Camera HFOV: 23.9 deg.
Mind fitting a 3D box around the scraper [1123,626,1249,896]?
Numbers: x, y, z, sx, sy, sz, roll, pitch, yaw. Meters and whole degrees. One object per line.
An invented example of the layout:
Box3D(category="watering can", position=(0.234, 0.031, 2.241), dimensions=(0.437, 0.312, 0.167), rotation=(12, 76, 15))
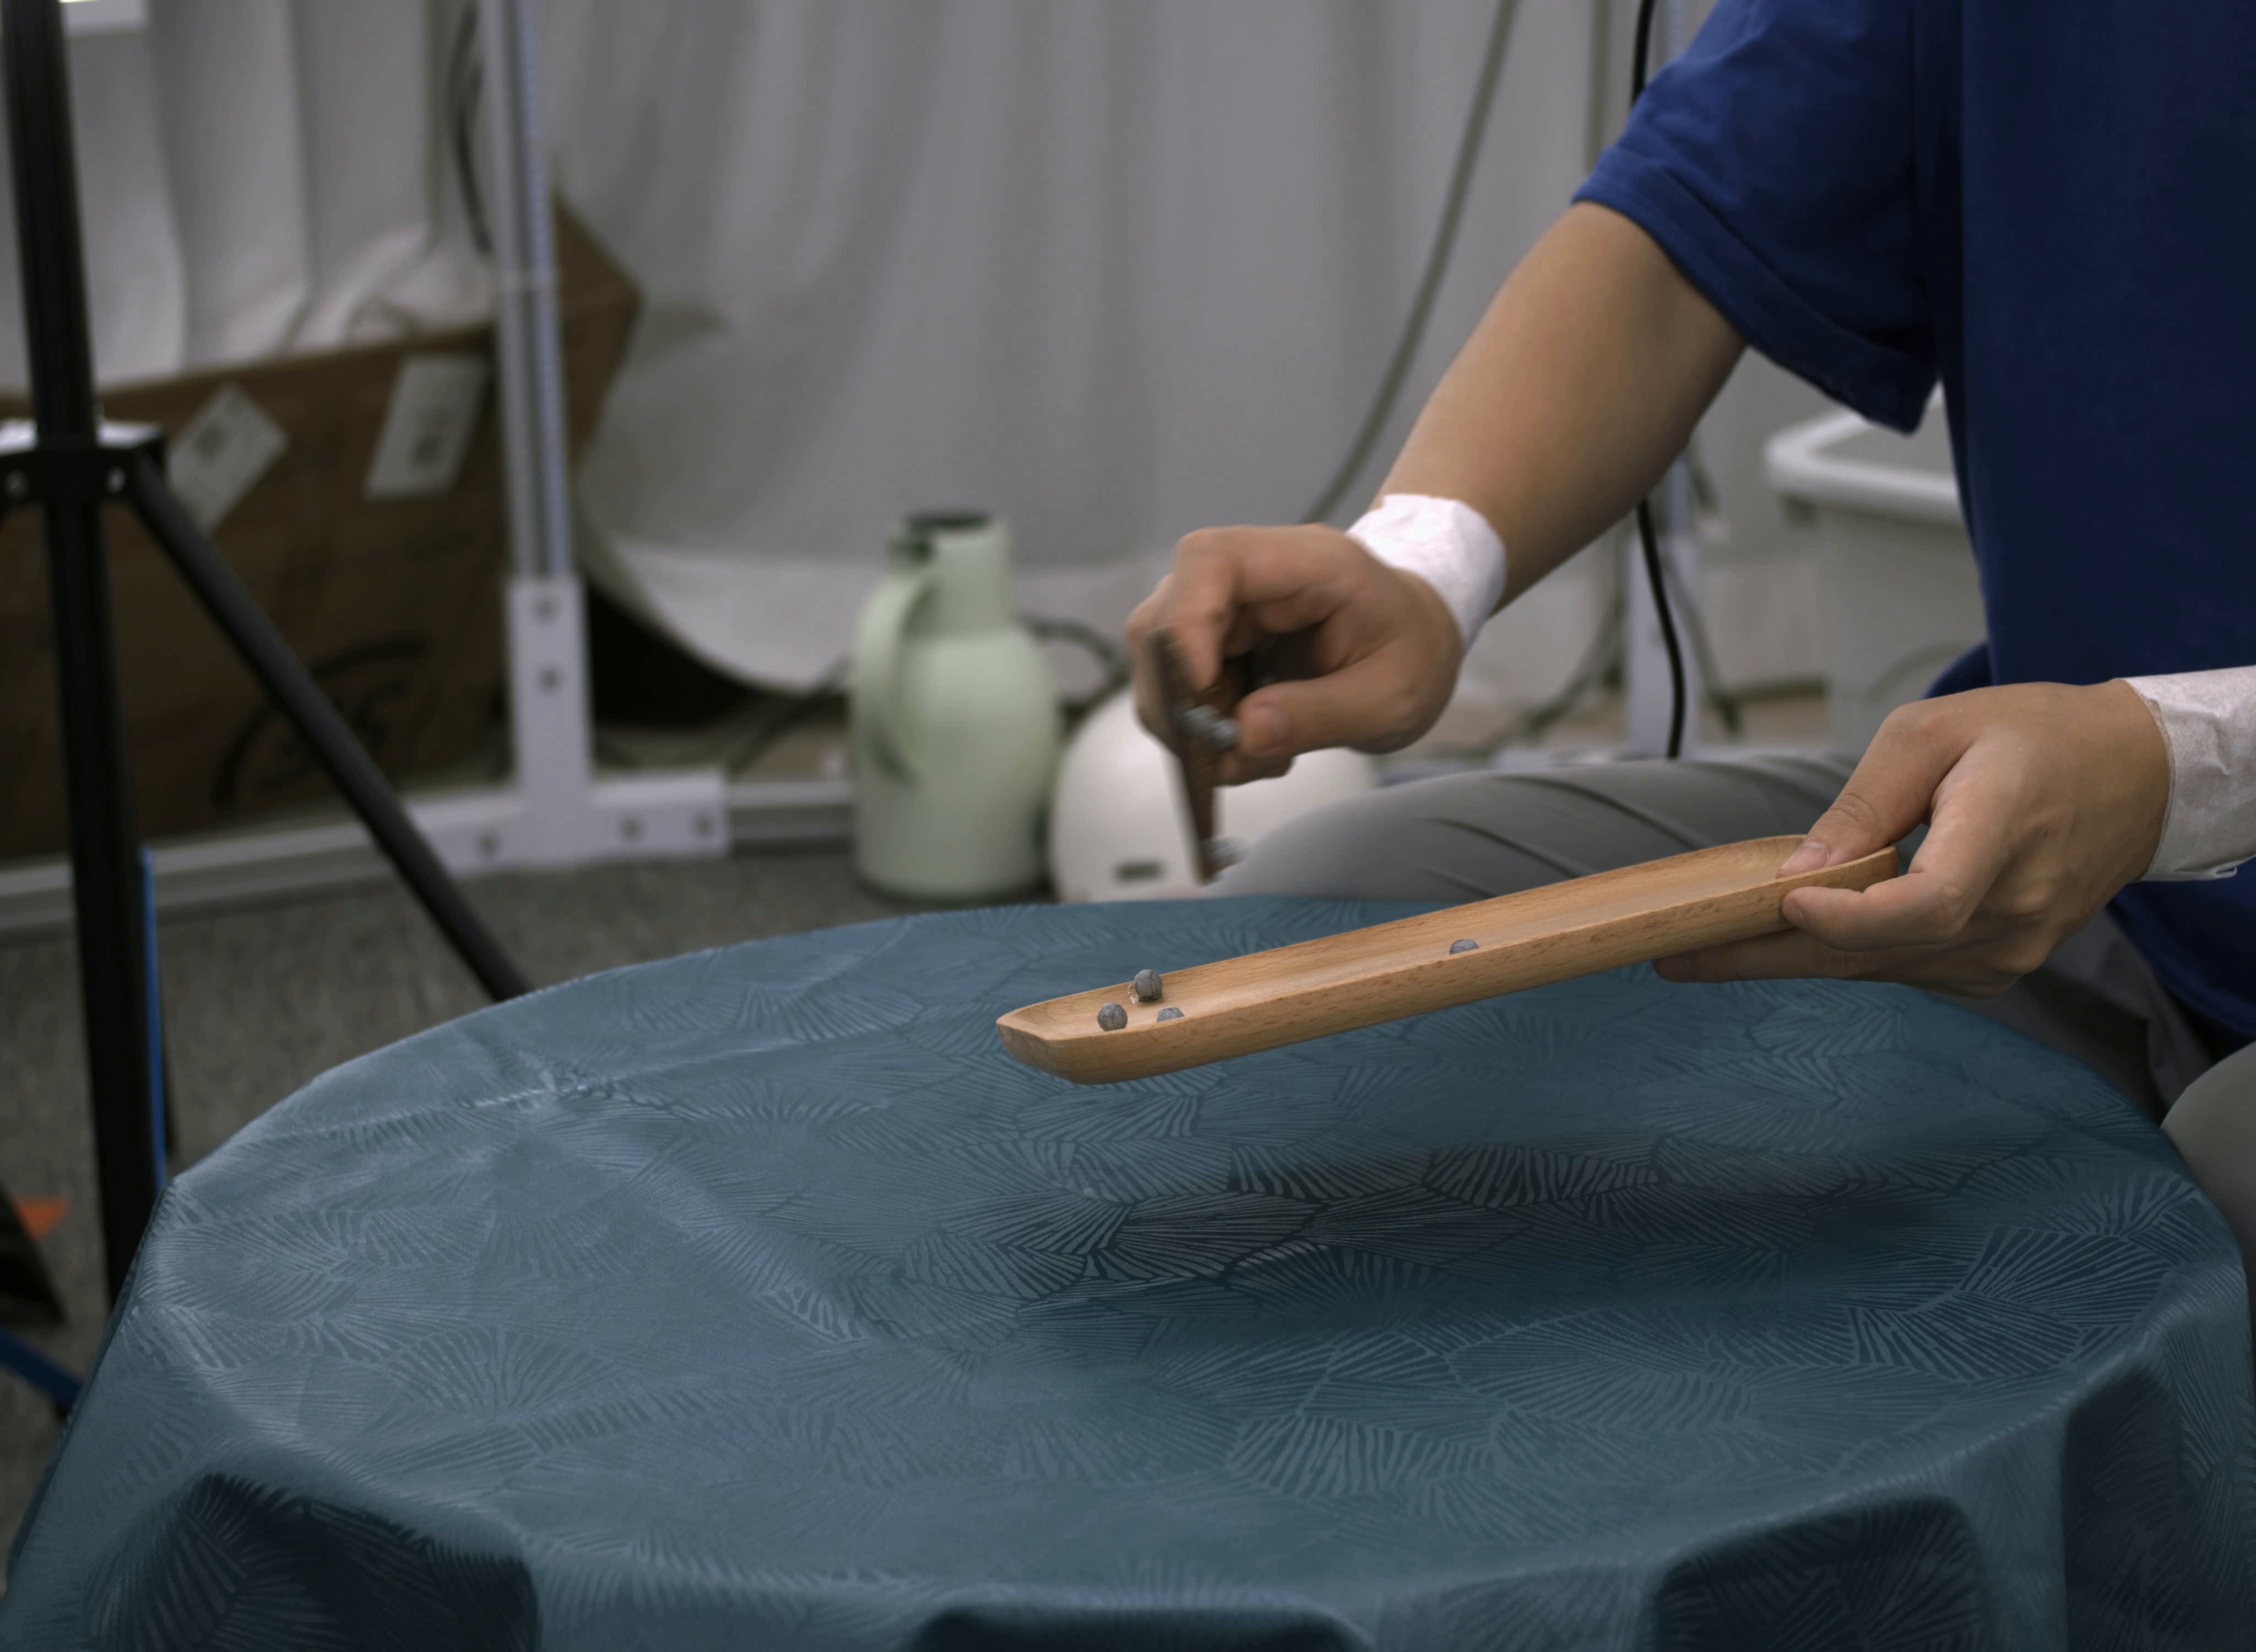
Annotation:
Box3D(category="scraper", position=(0.020, -0.028, 1.573), dimensions=(0.011, 0.076, 0.210), rotation=(-11, 5, 9))

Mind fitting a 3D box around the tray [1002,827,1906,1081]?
Box3D(category="tray", position=(0.092, 0.036, 1.507), dimensions=(0.248, 0.023, 0.132), rotation=(-12, 7, -9))
